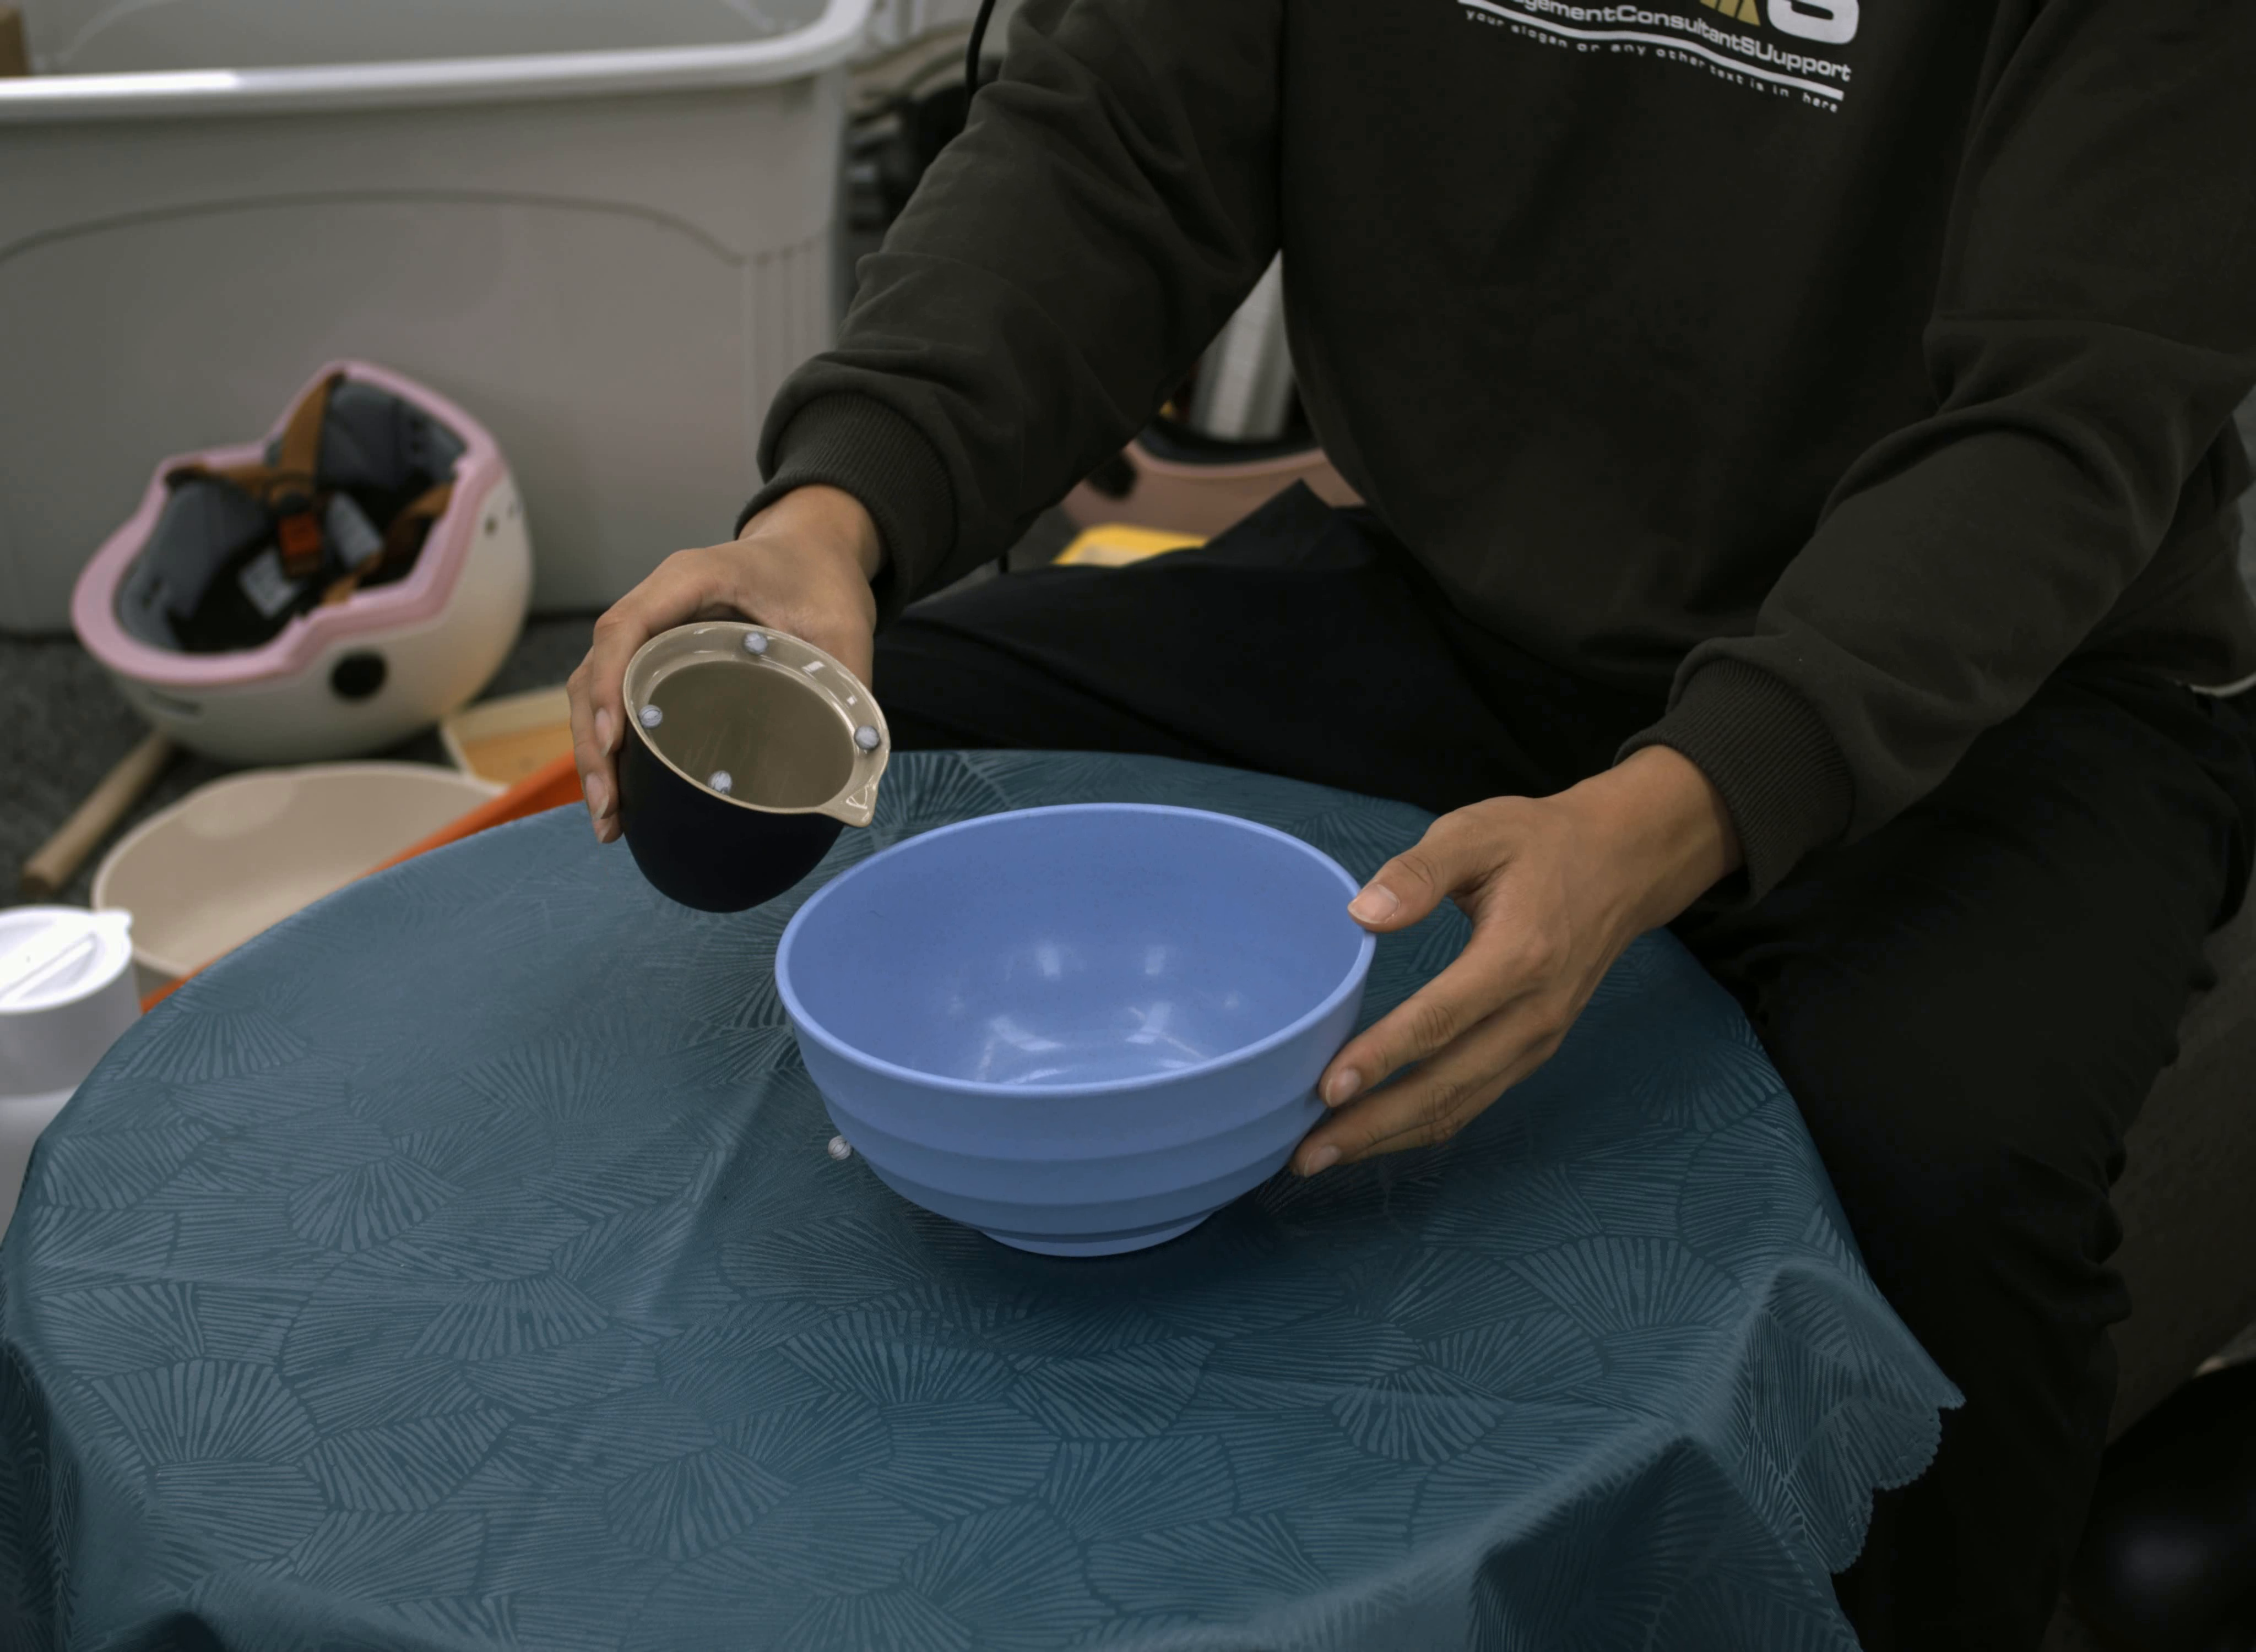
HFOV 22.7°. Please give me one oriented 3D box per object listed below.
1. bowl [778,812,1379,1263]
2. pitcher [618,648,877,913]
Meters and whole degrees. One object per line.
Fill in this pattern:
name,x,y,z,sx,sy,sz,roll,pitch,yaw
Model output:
bowl,-0.015,0.080,1.849,0.195,0.094,0.199,-1,26,1
pitcher,-0.131,-0.010,1.913,0.096,0.070,0.085,40,40,20
